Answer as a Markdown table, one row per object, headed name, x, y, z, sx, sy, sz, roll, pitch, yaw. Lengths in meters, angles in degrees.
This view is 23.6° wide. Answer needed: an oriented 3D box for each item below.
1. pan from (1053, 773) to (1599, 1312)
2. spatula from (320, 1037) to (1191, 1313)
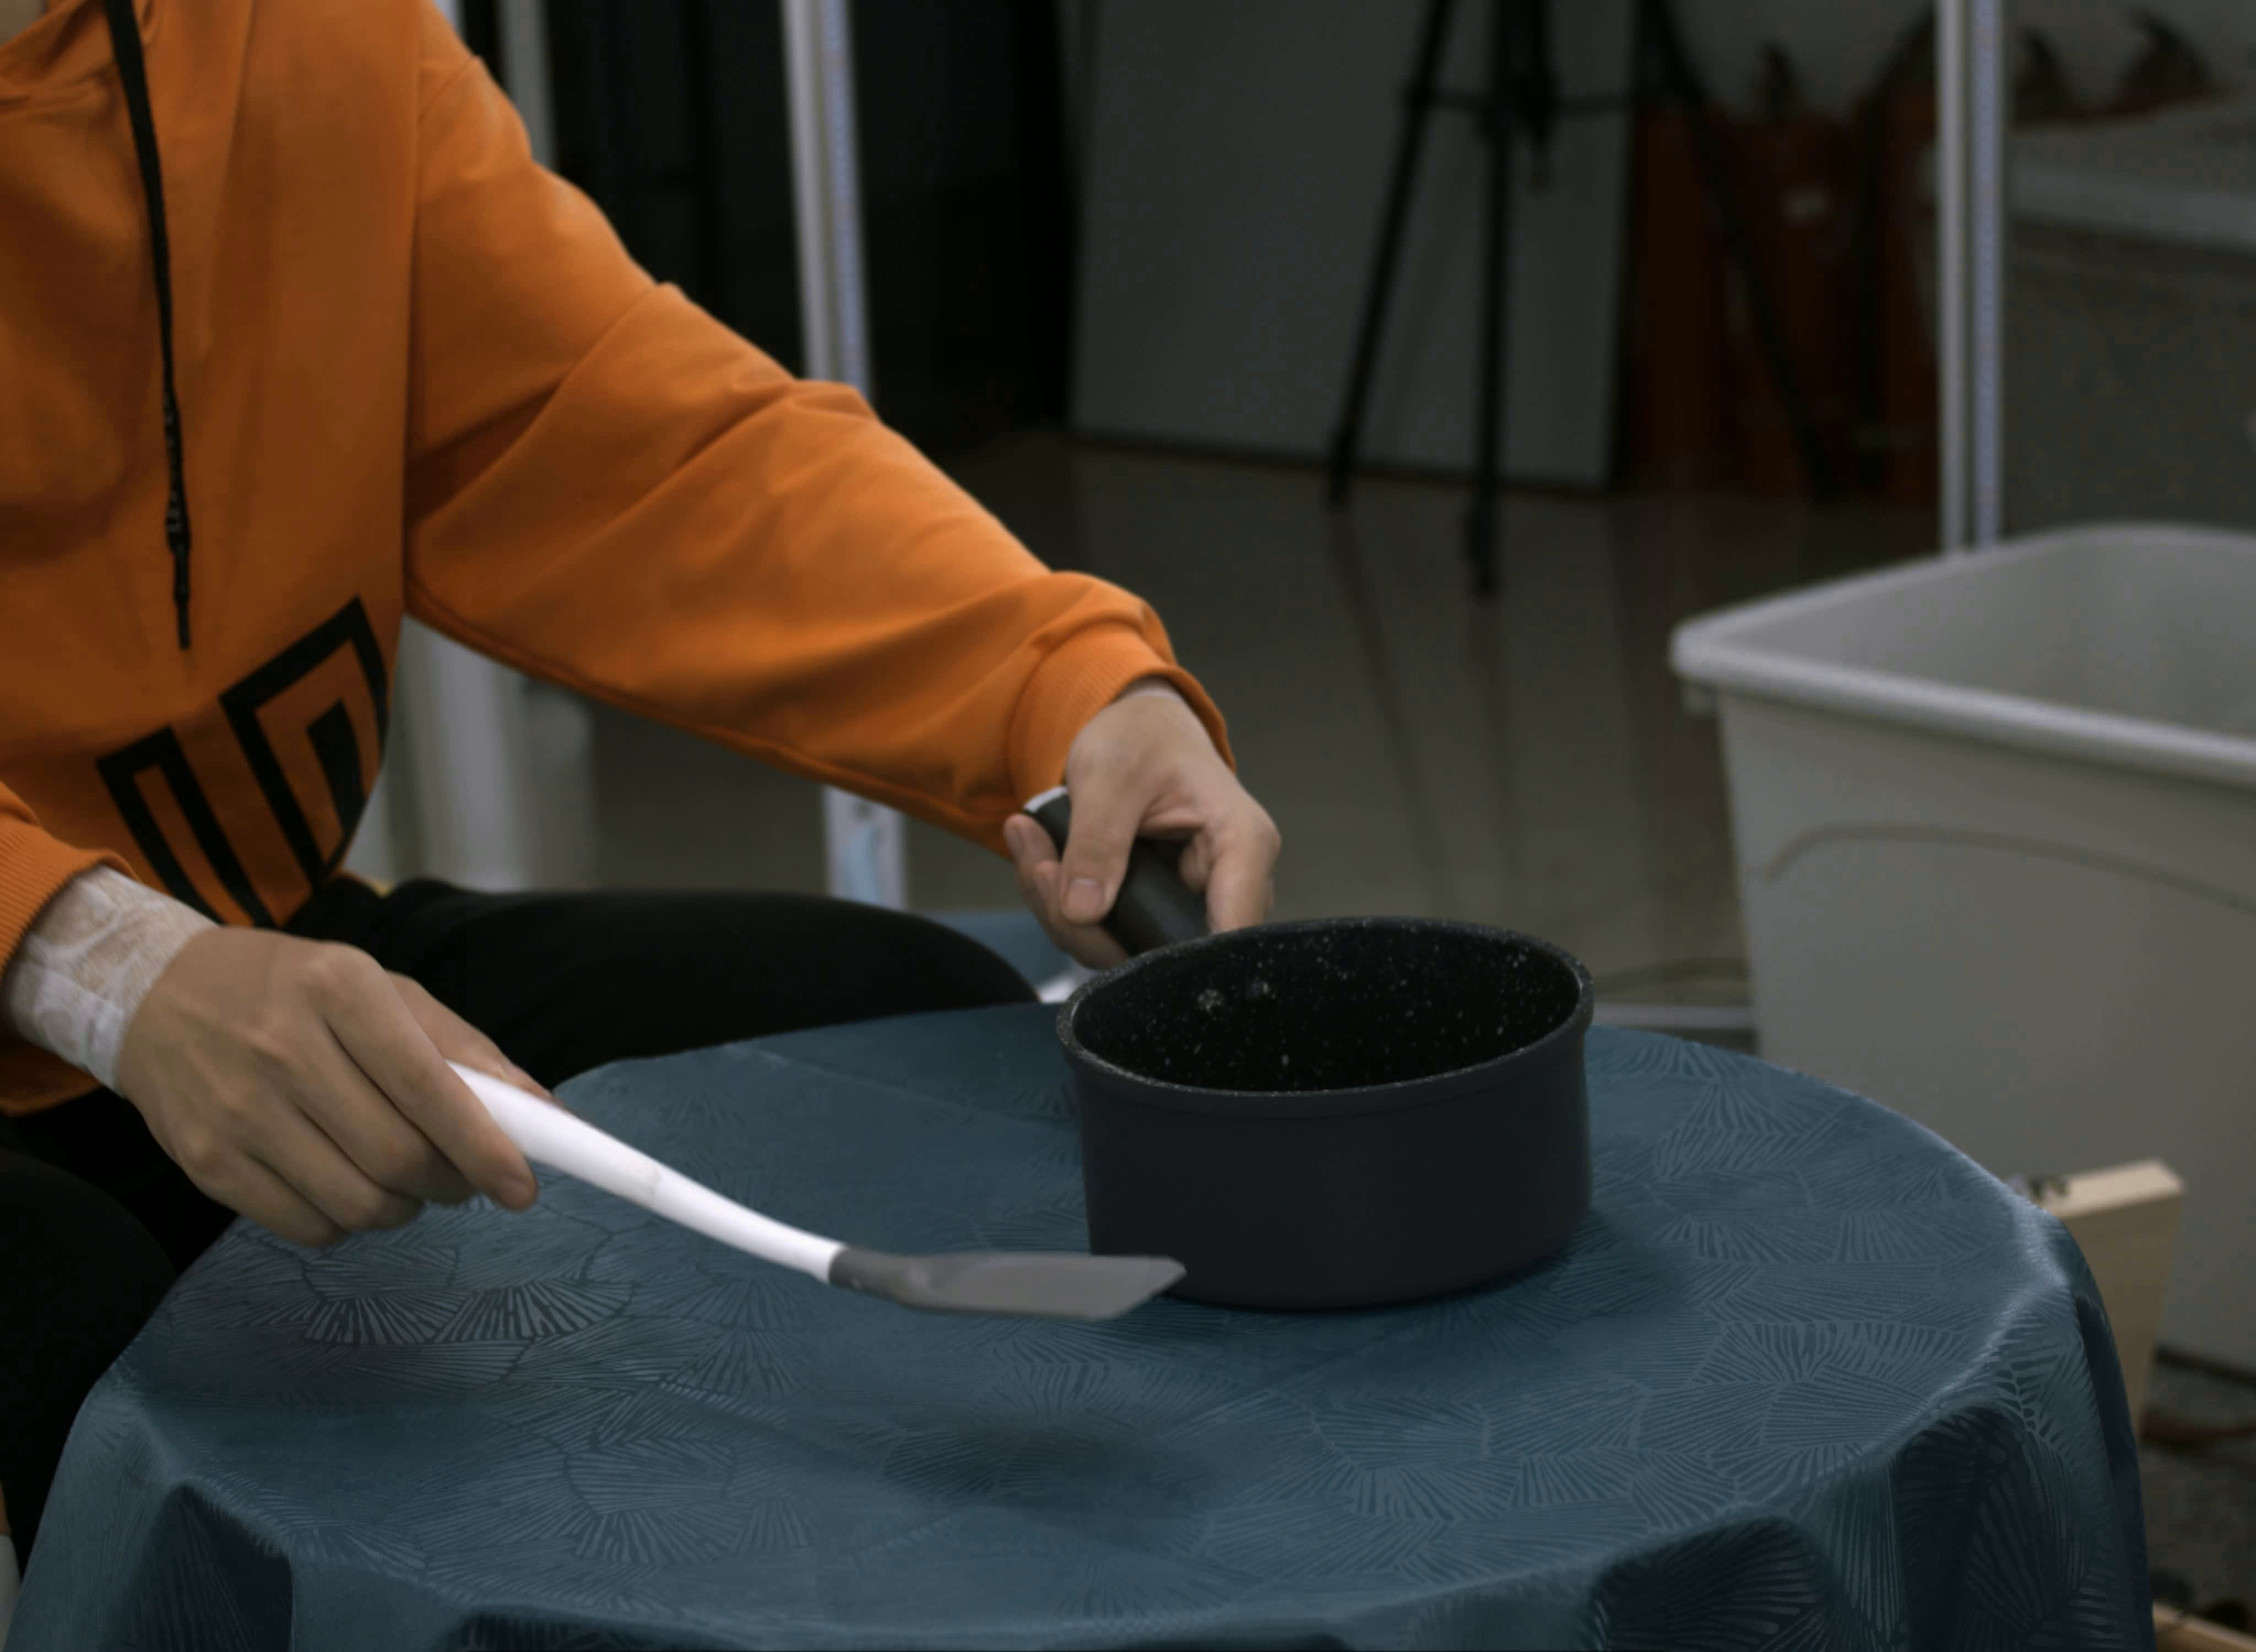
| name | x | y | z | sx | sy | sz | roll | pitch | yaw |
| --- | --- | --- | --- | --- | --- | --- | --- | --- | --- |
| pan | 0.040 | 0.066 | 1.776 | 0.168 | 0.087 | 0.332 | -10 | 18 | -16 |
| spatula | -0.114 | 0.108 | 1.586 | 0.288 | 0.032 | 0.058 | 13 | 15 | 28 |
